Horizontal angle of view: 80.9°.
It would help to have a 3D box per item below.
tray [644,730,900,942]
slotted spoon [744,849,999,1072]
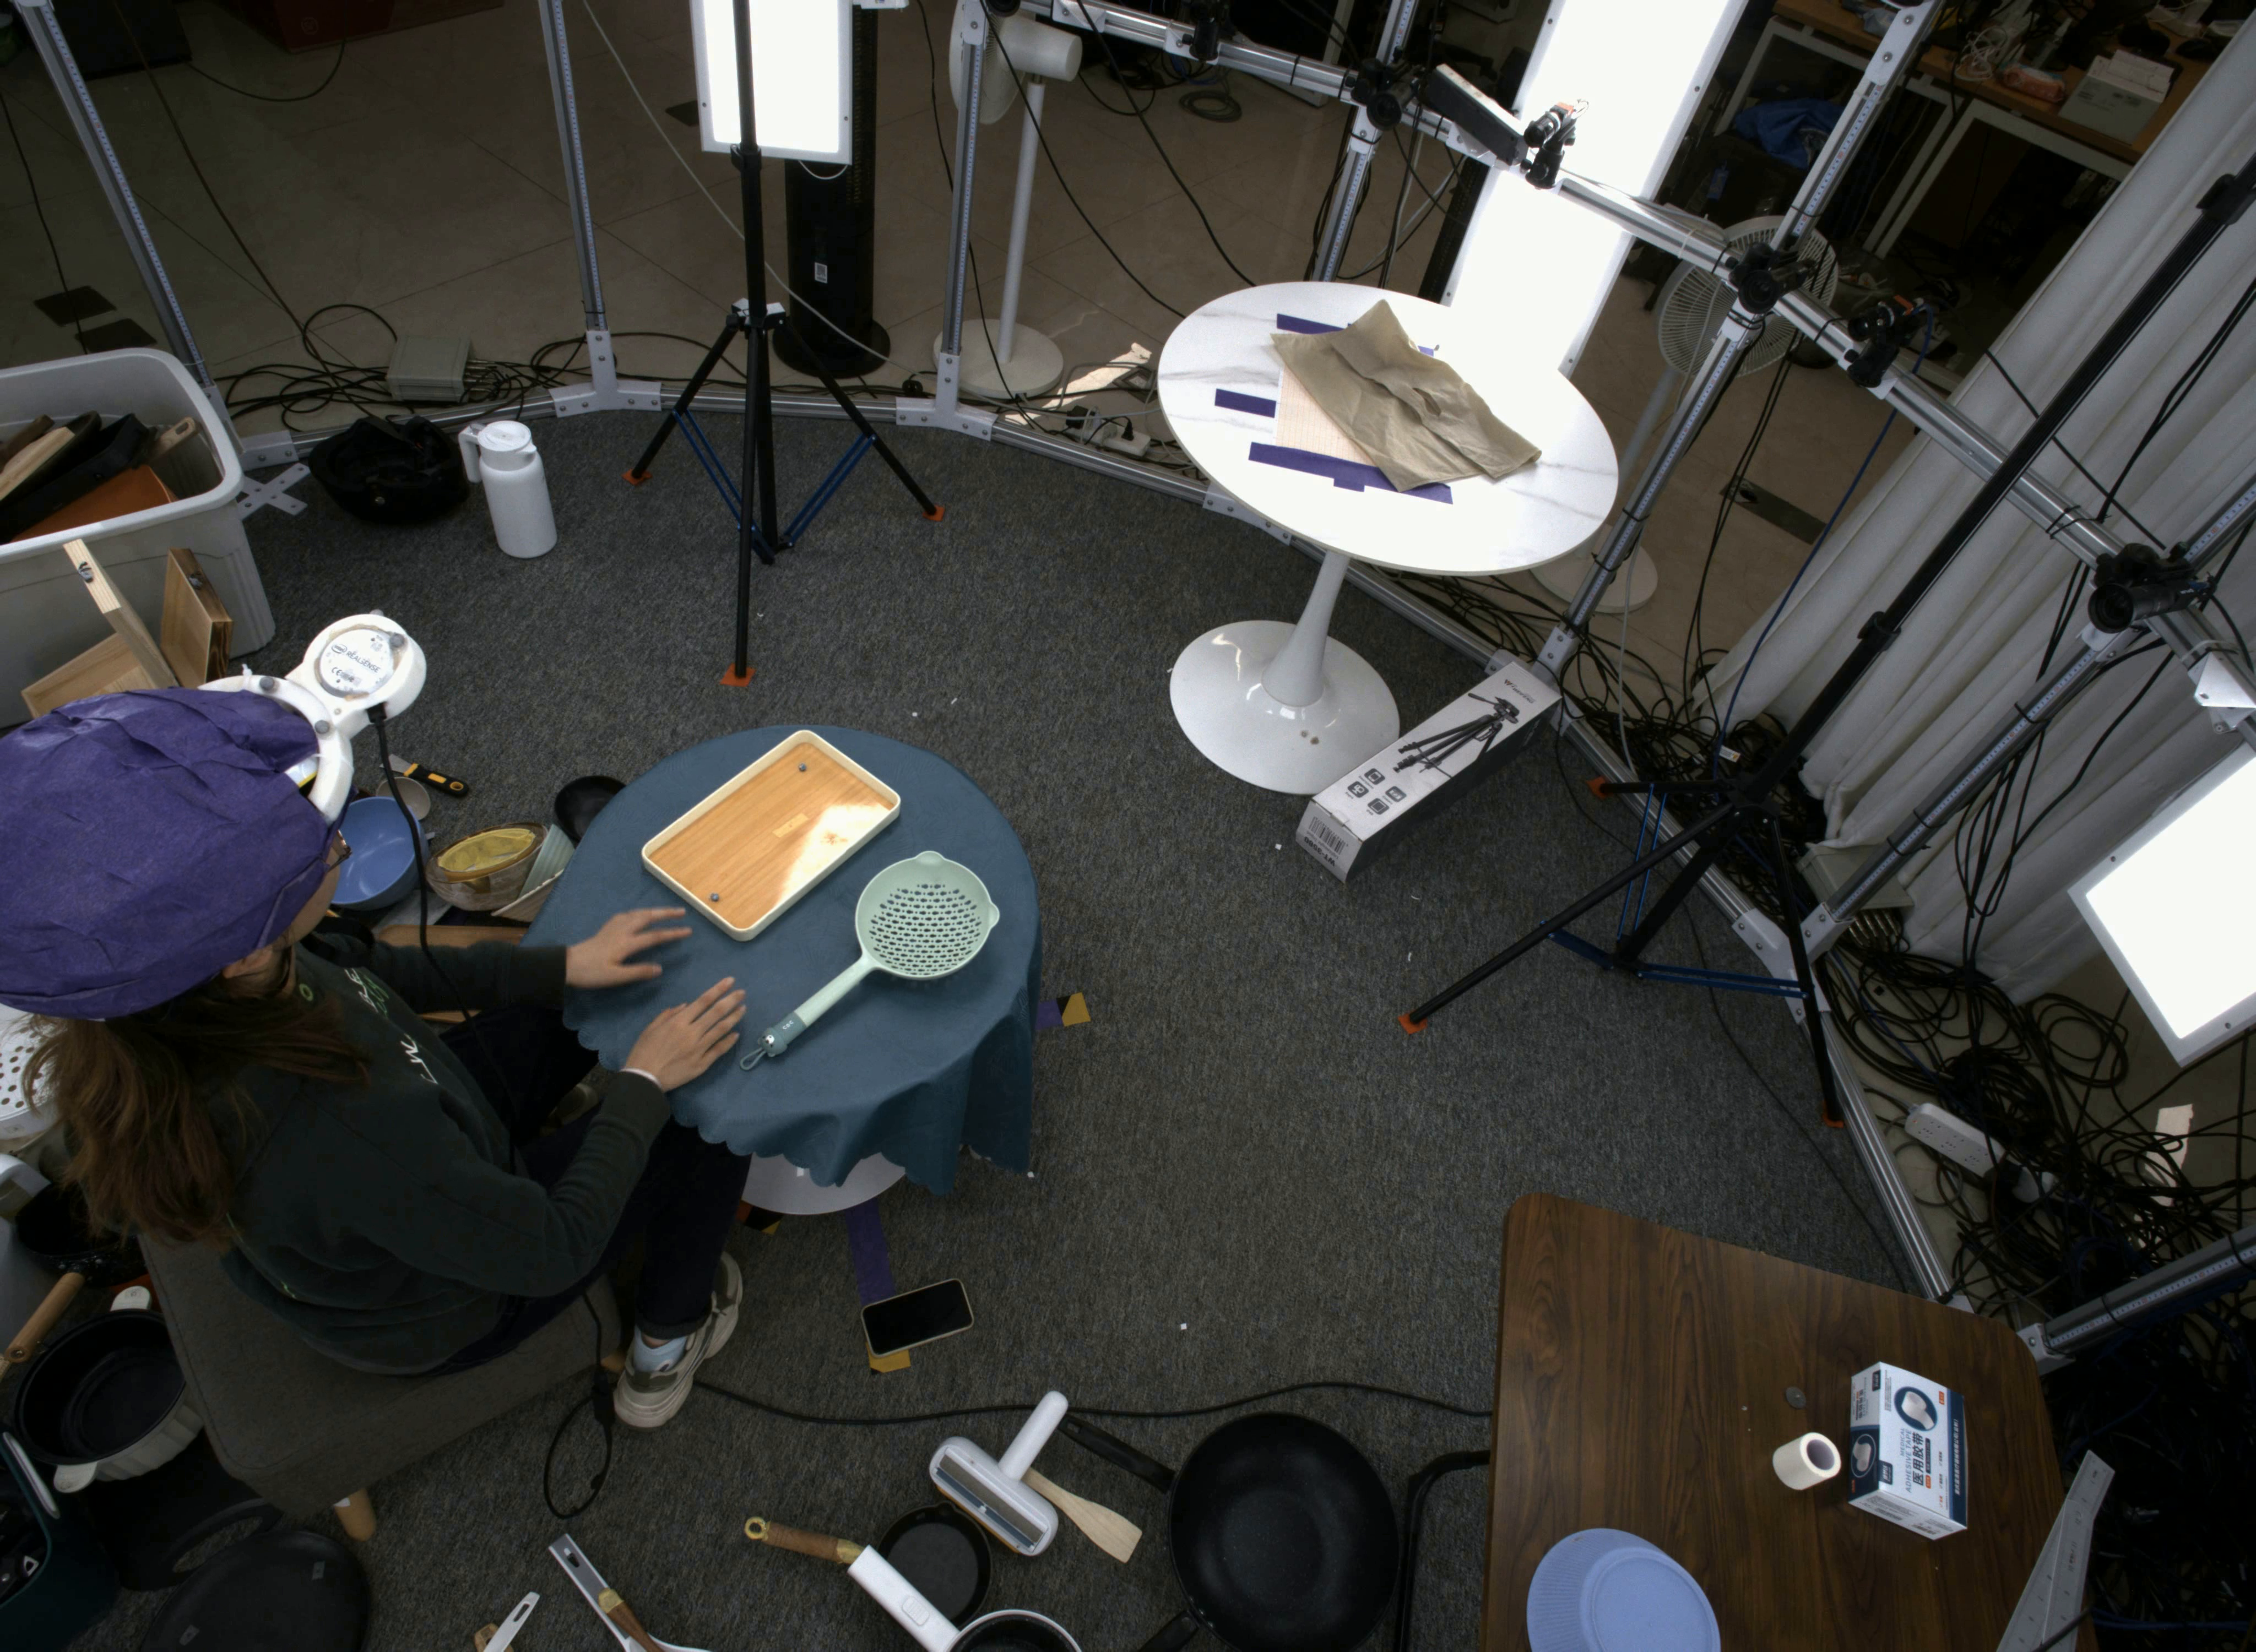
[{"bbox_3d":[-0.463,0.004,1.699,0.188,0.028,0.300,36,53,13],"label":"tray"},{"bbox_3d":[-0.321,0.171,1.586,0.165,0.077,0.359,41,55,18],"label":"slotted spoon"}]
